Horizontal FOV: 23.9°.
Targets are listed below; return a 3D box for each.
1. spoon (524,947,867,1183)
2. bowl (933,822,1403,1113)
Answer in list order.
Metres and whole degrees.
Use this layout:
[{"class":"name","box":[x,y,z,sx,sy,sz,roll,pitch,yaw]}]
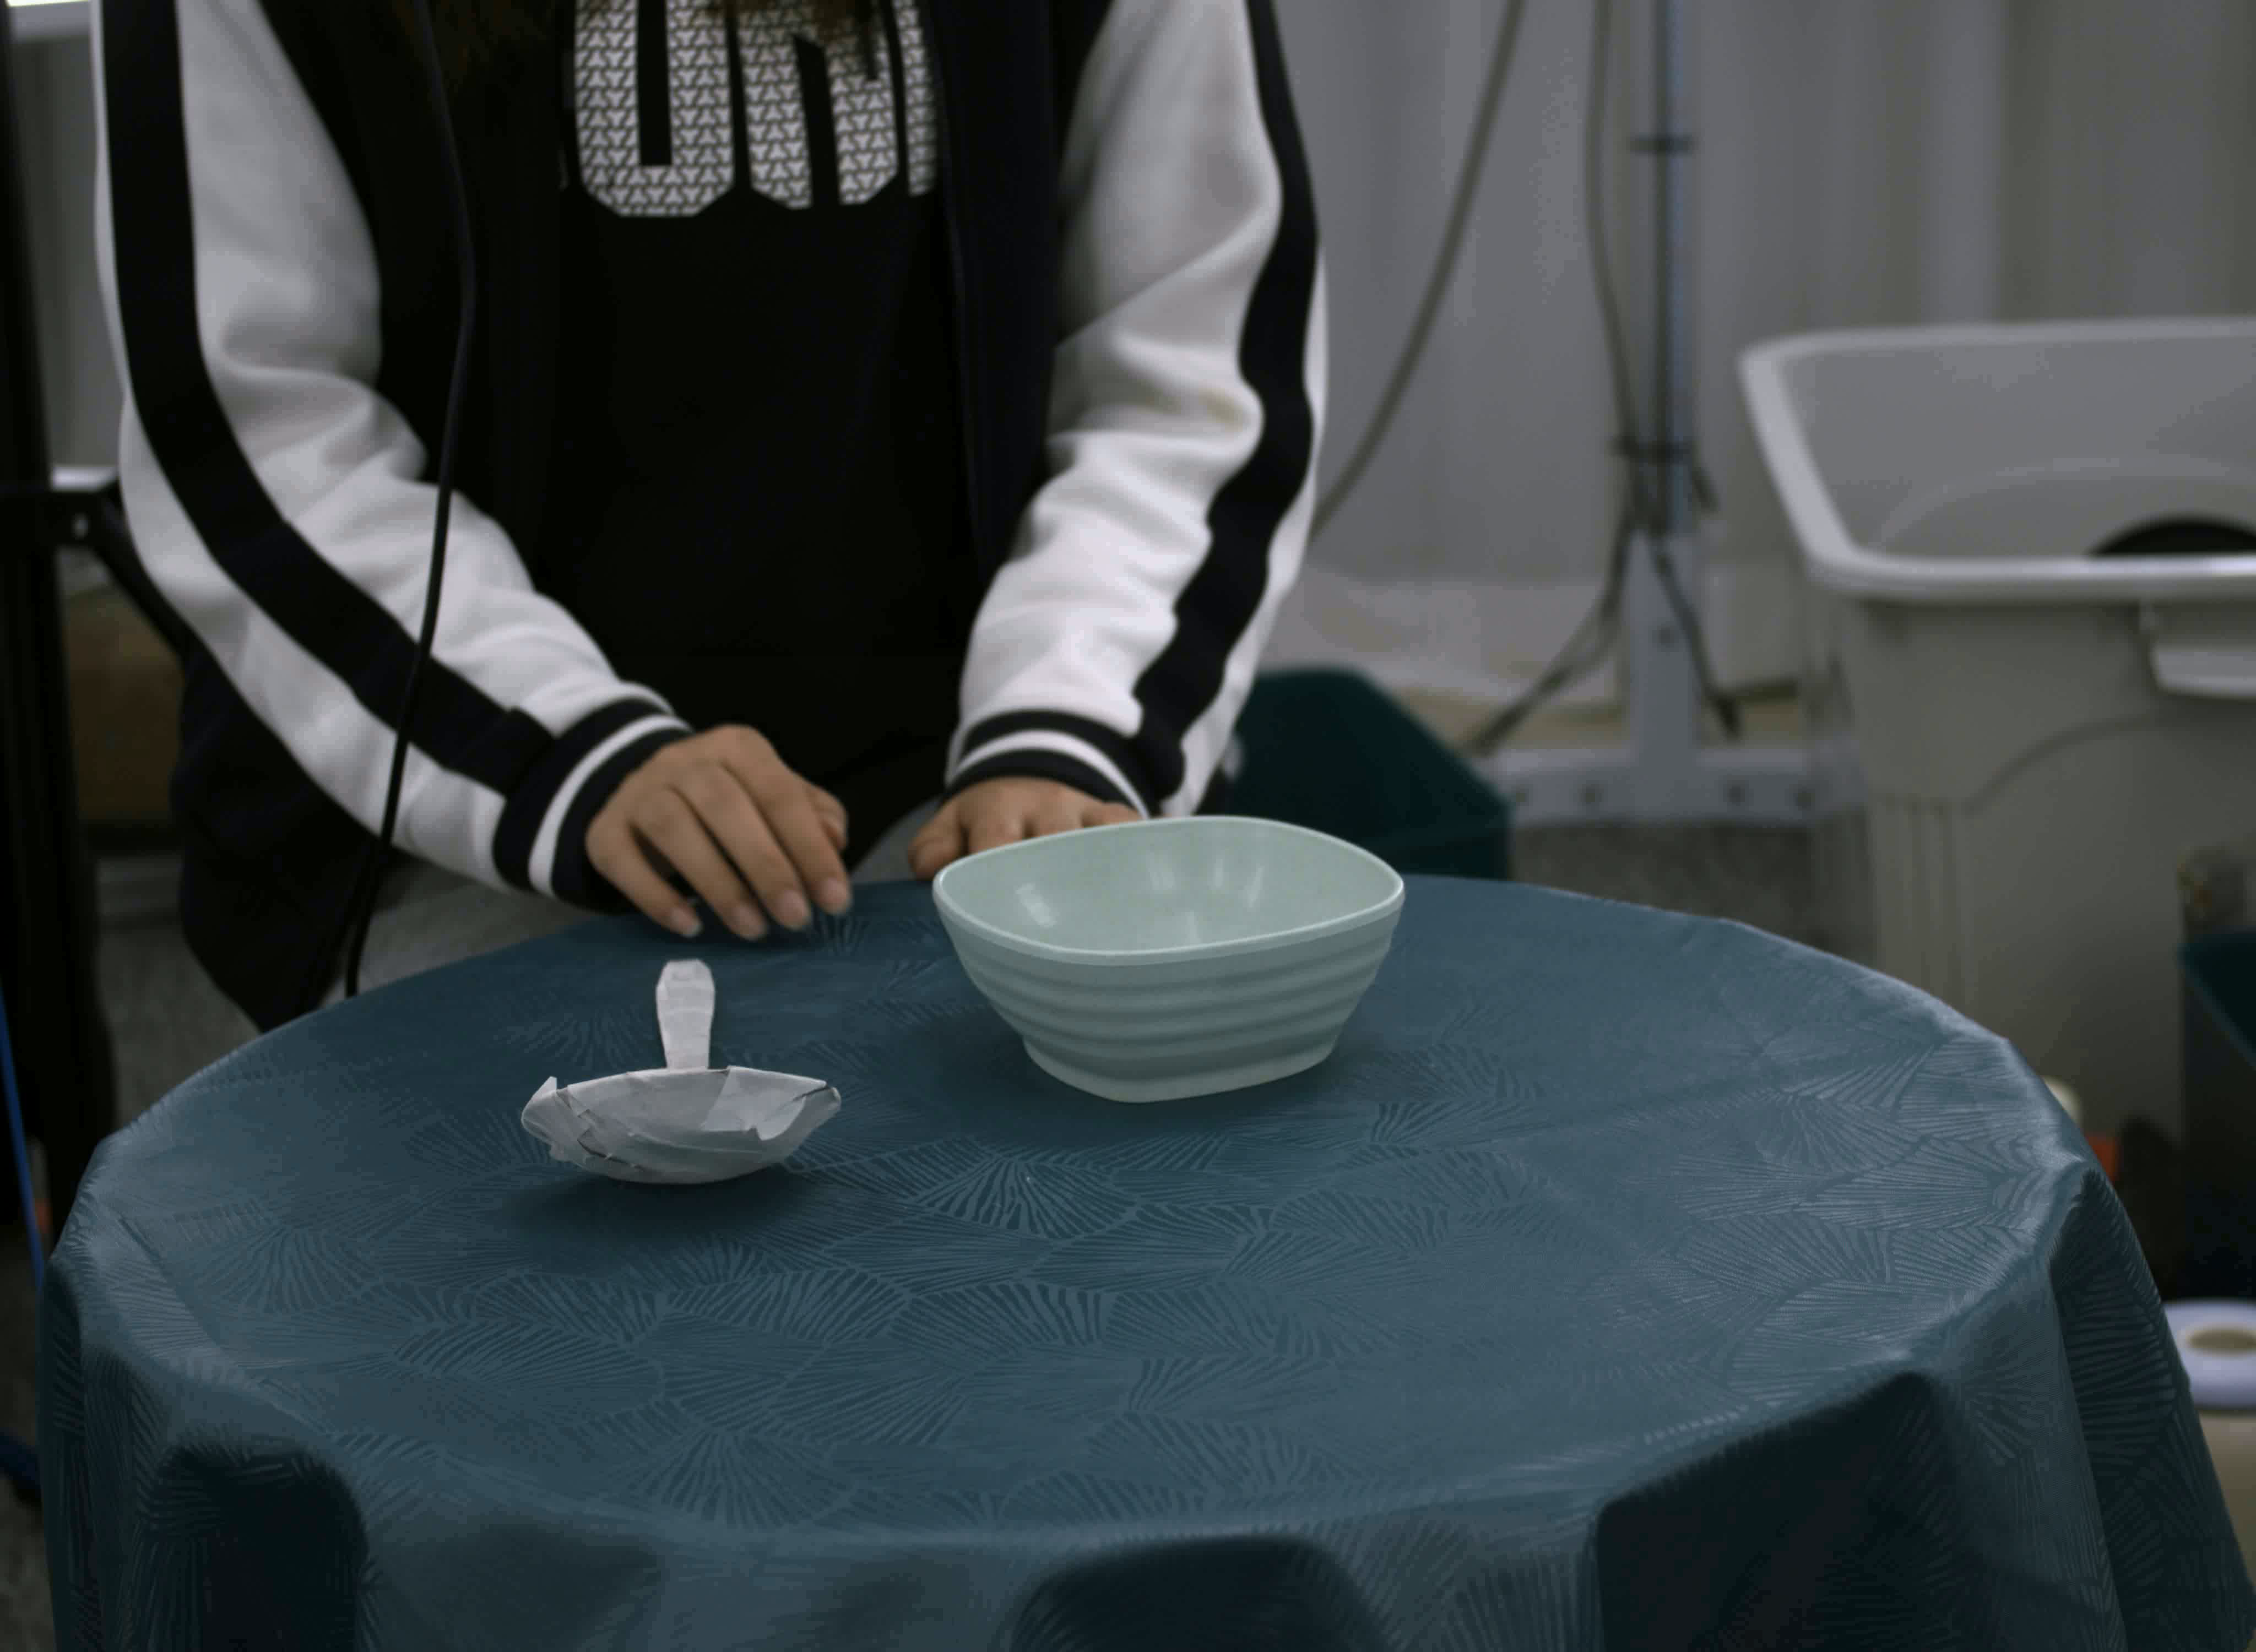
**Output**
[{"class":"spoon","box":[-0.129,0.057,1.656,0.100,0.059,0.278,2,16,-2]},{"class":"bowl","box":[0.013,0.047,1.674,0.150,0.058,0.152,-3,16,-1]}]
